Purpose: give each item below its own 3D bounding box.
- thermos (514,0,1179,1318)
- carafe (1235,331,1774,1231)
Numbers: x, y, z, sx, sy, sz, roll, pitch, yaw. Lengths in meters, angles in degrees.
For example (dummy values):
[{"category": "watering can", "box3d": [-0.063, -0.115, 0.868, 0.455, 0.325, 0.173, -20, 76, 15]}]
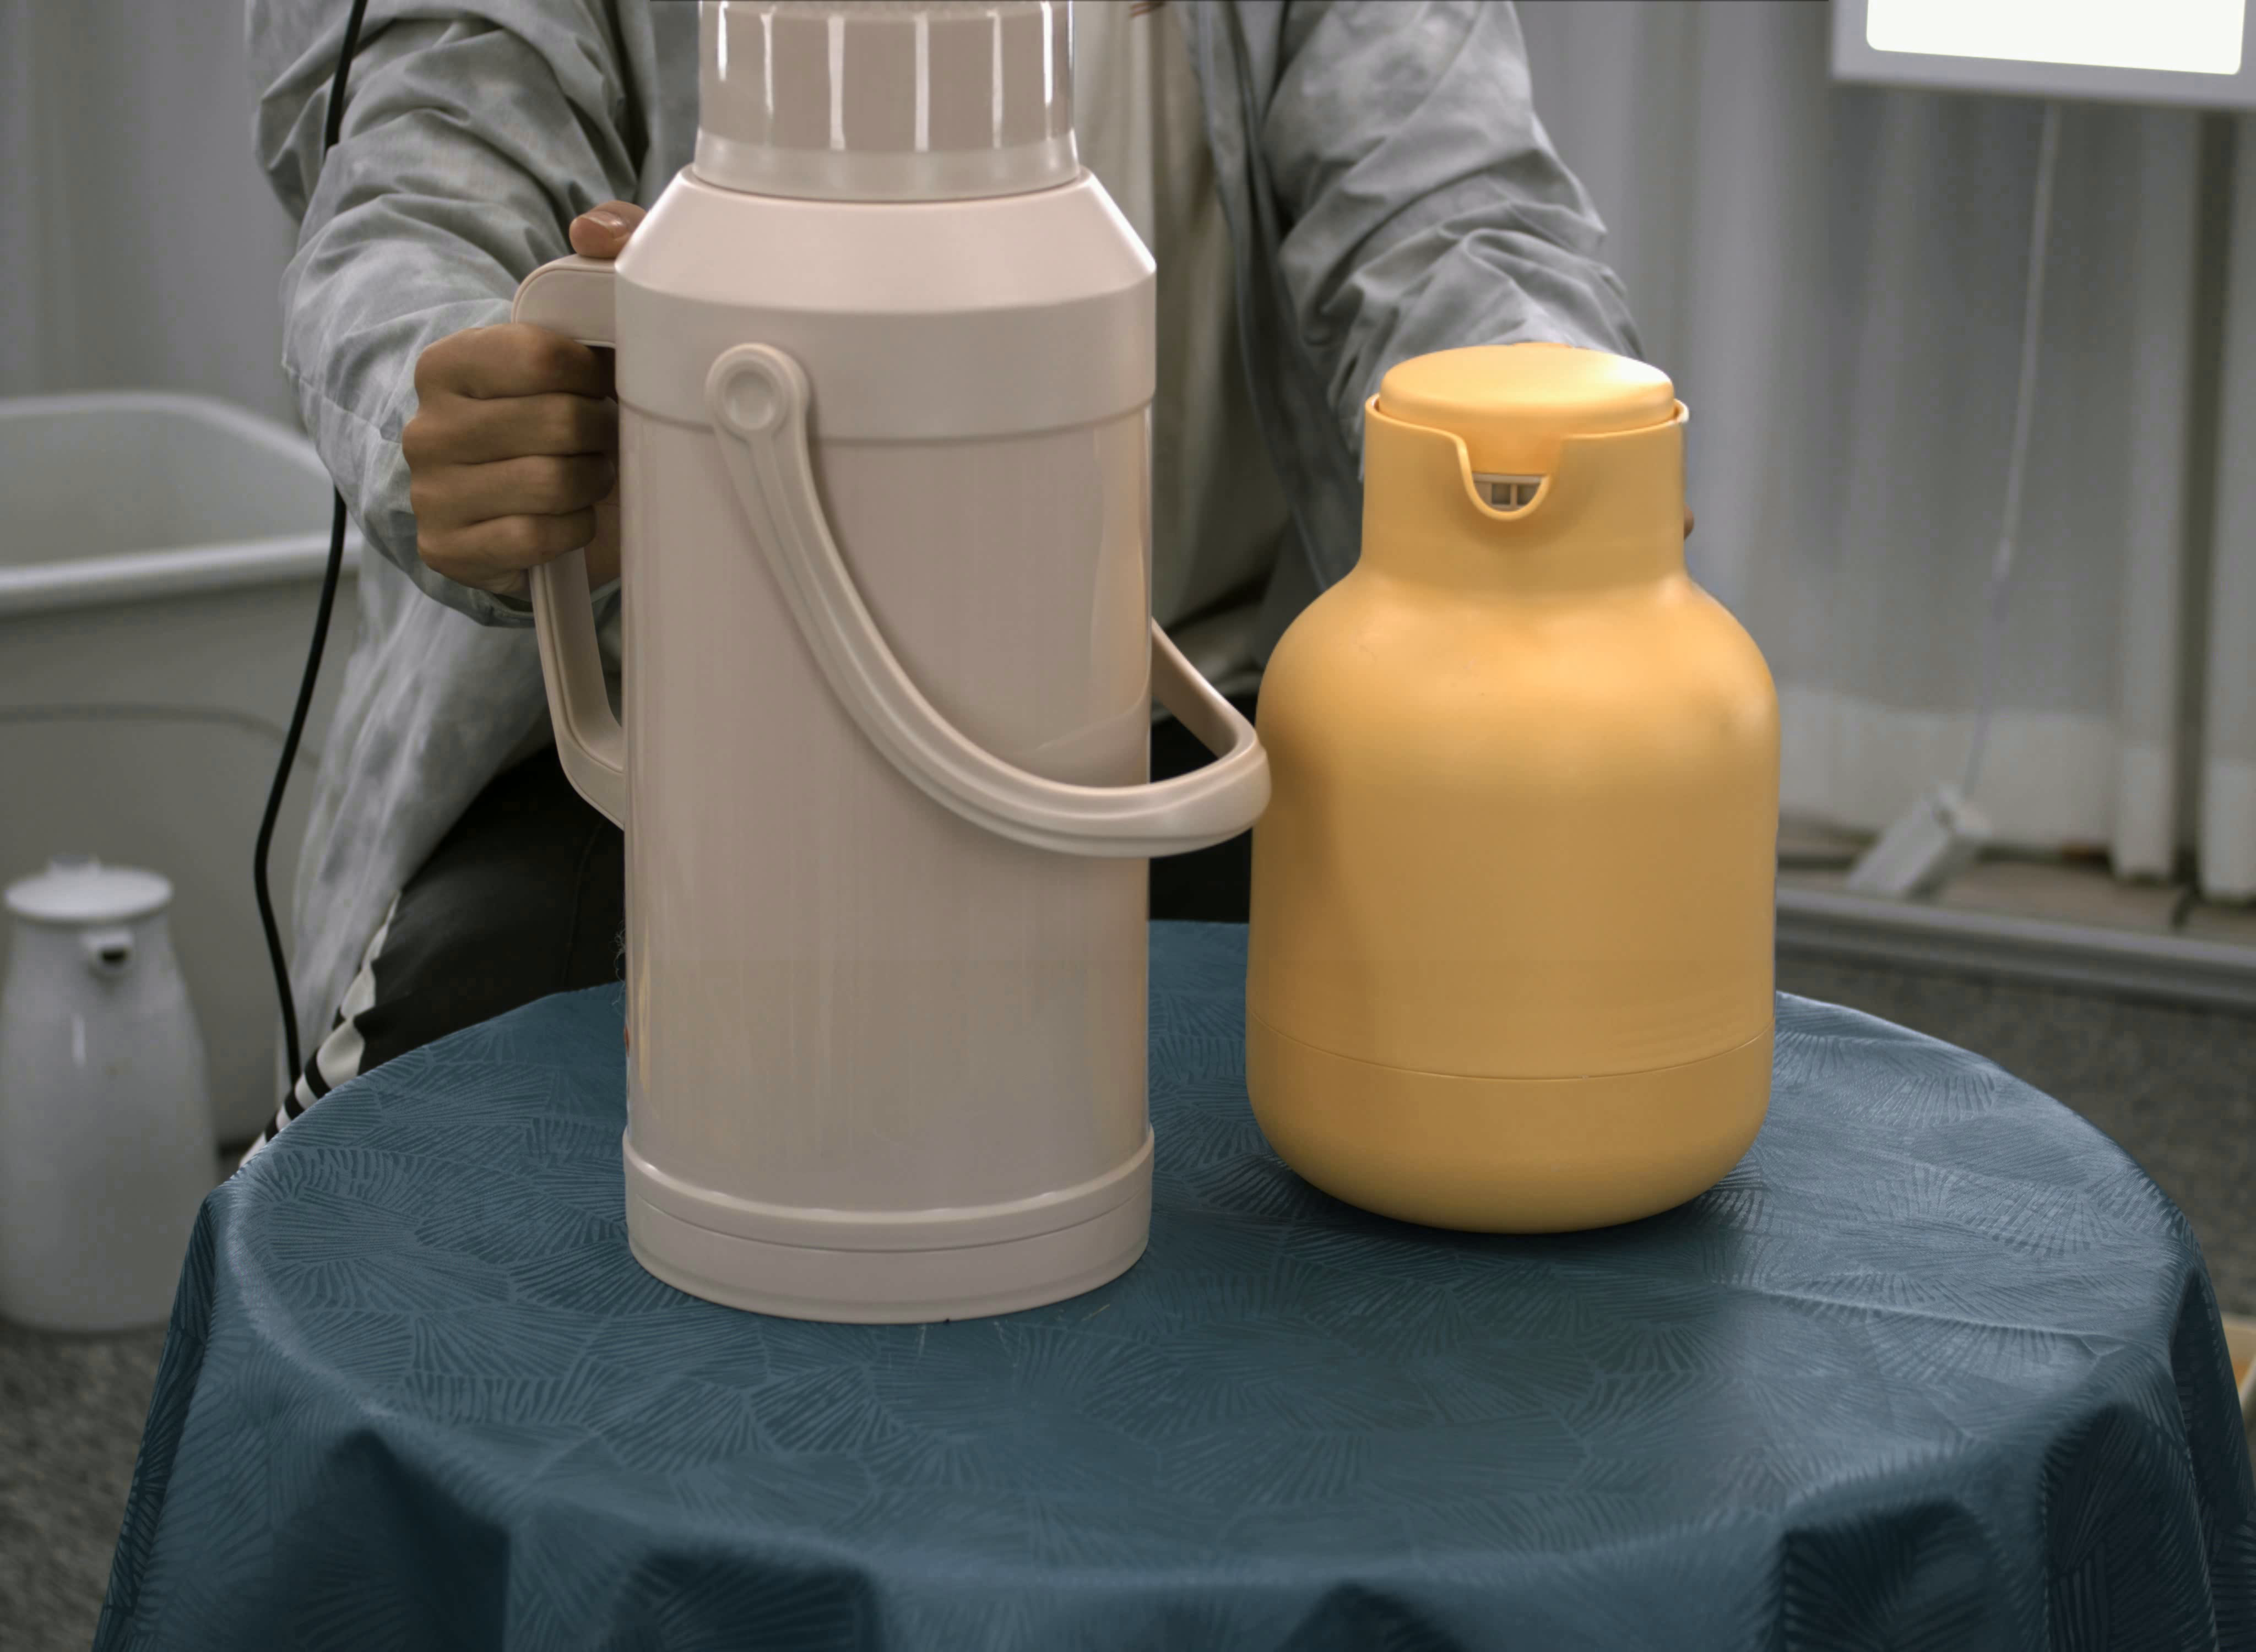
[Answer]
[{"category": "thermos", "box3d": [-0.084, -0.071, 1.537, 0.205, 0.410, 0.175, 8, 18, 22]}, {"category": "carafe", "box3d": [0.121, -0.022, 1.623, 0.162, 0.262, 0.202, 5, 18, 9]}]
